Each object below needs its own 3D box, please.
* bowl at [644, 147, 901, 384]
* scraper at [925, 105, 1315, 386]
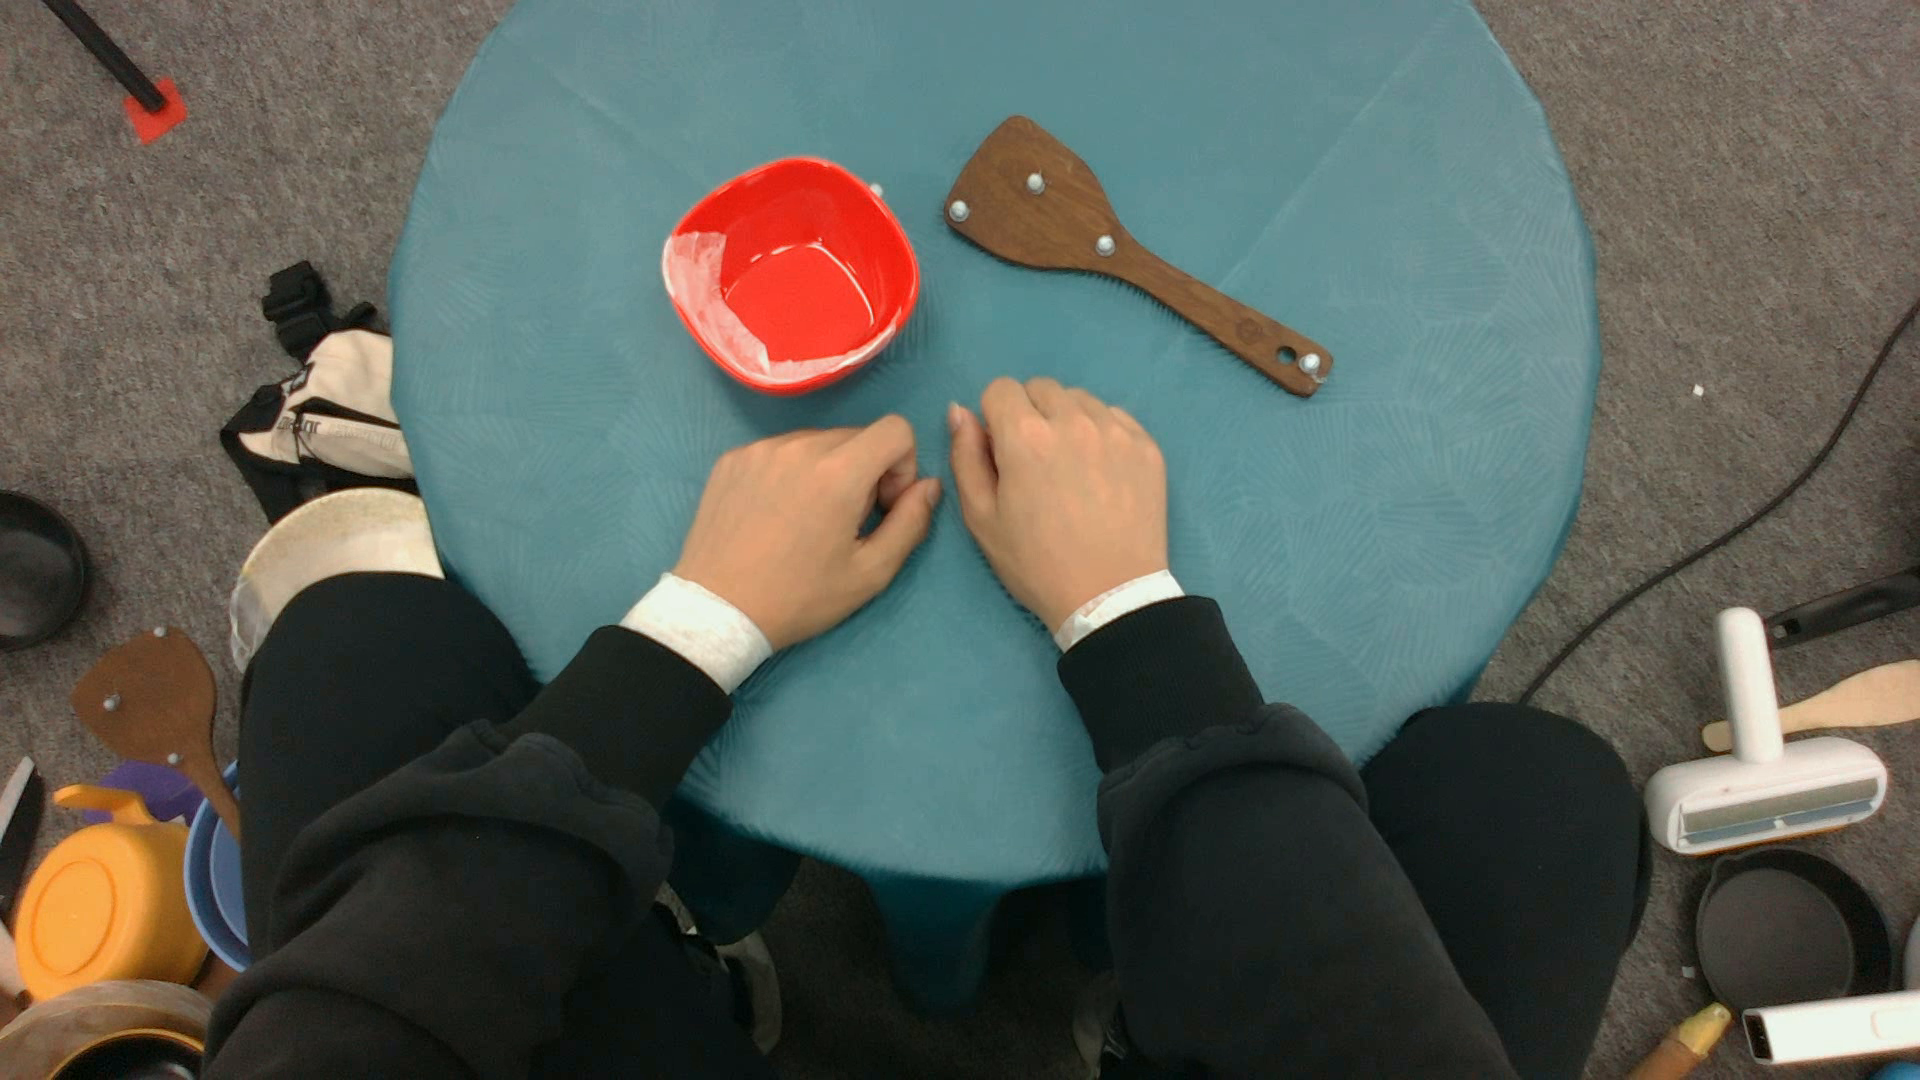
[{"bbox_3d":[-0.087,-0.123,0.658,0.119,0.051,0.119,1,72,-2],"label":"bowl"},{"bbox_3d":[0.083,-0.141,0.690,0.211,0.011,0.076,34,76,8],"label":"scraper"}]
